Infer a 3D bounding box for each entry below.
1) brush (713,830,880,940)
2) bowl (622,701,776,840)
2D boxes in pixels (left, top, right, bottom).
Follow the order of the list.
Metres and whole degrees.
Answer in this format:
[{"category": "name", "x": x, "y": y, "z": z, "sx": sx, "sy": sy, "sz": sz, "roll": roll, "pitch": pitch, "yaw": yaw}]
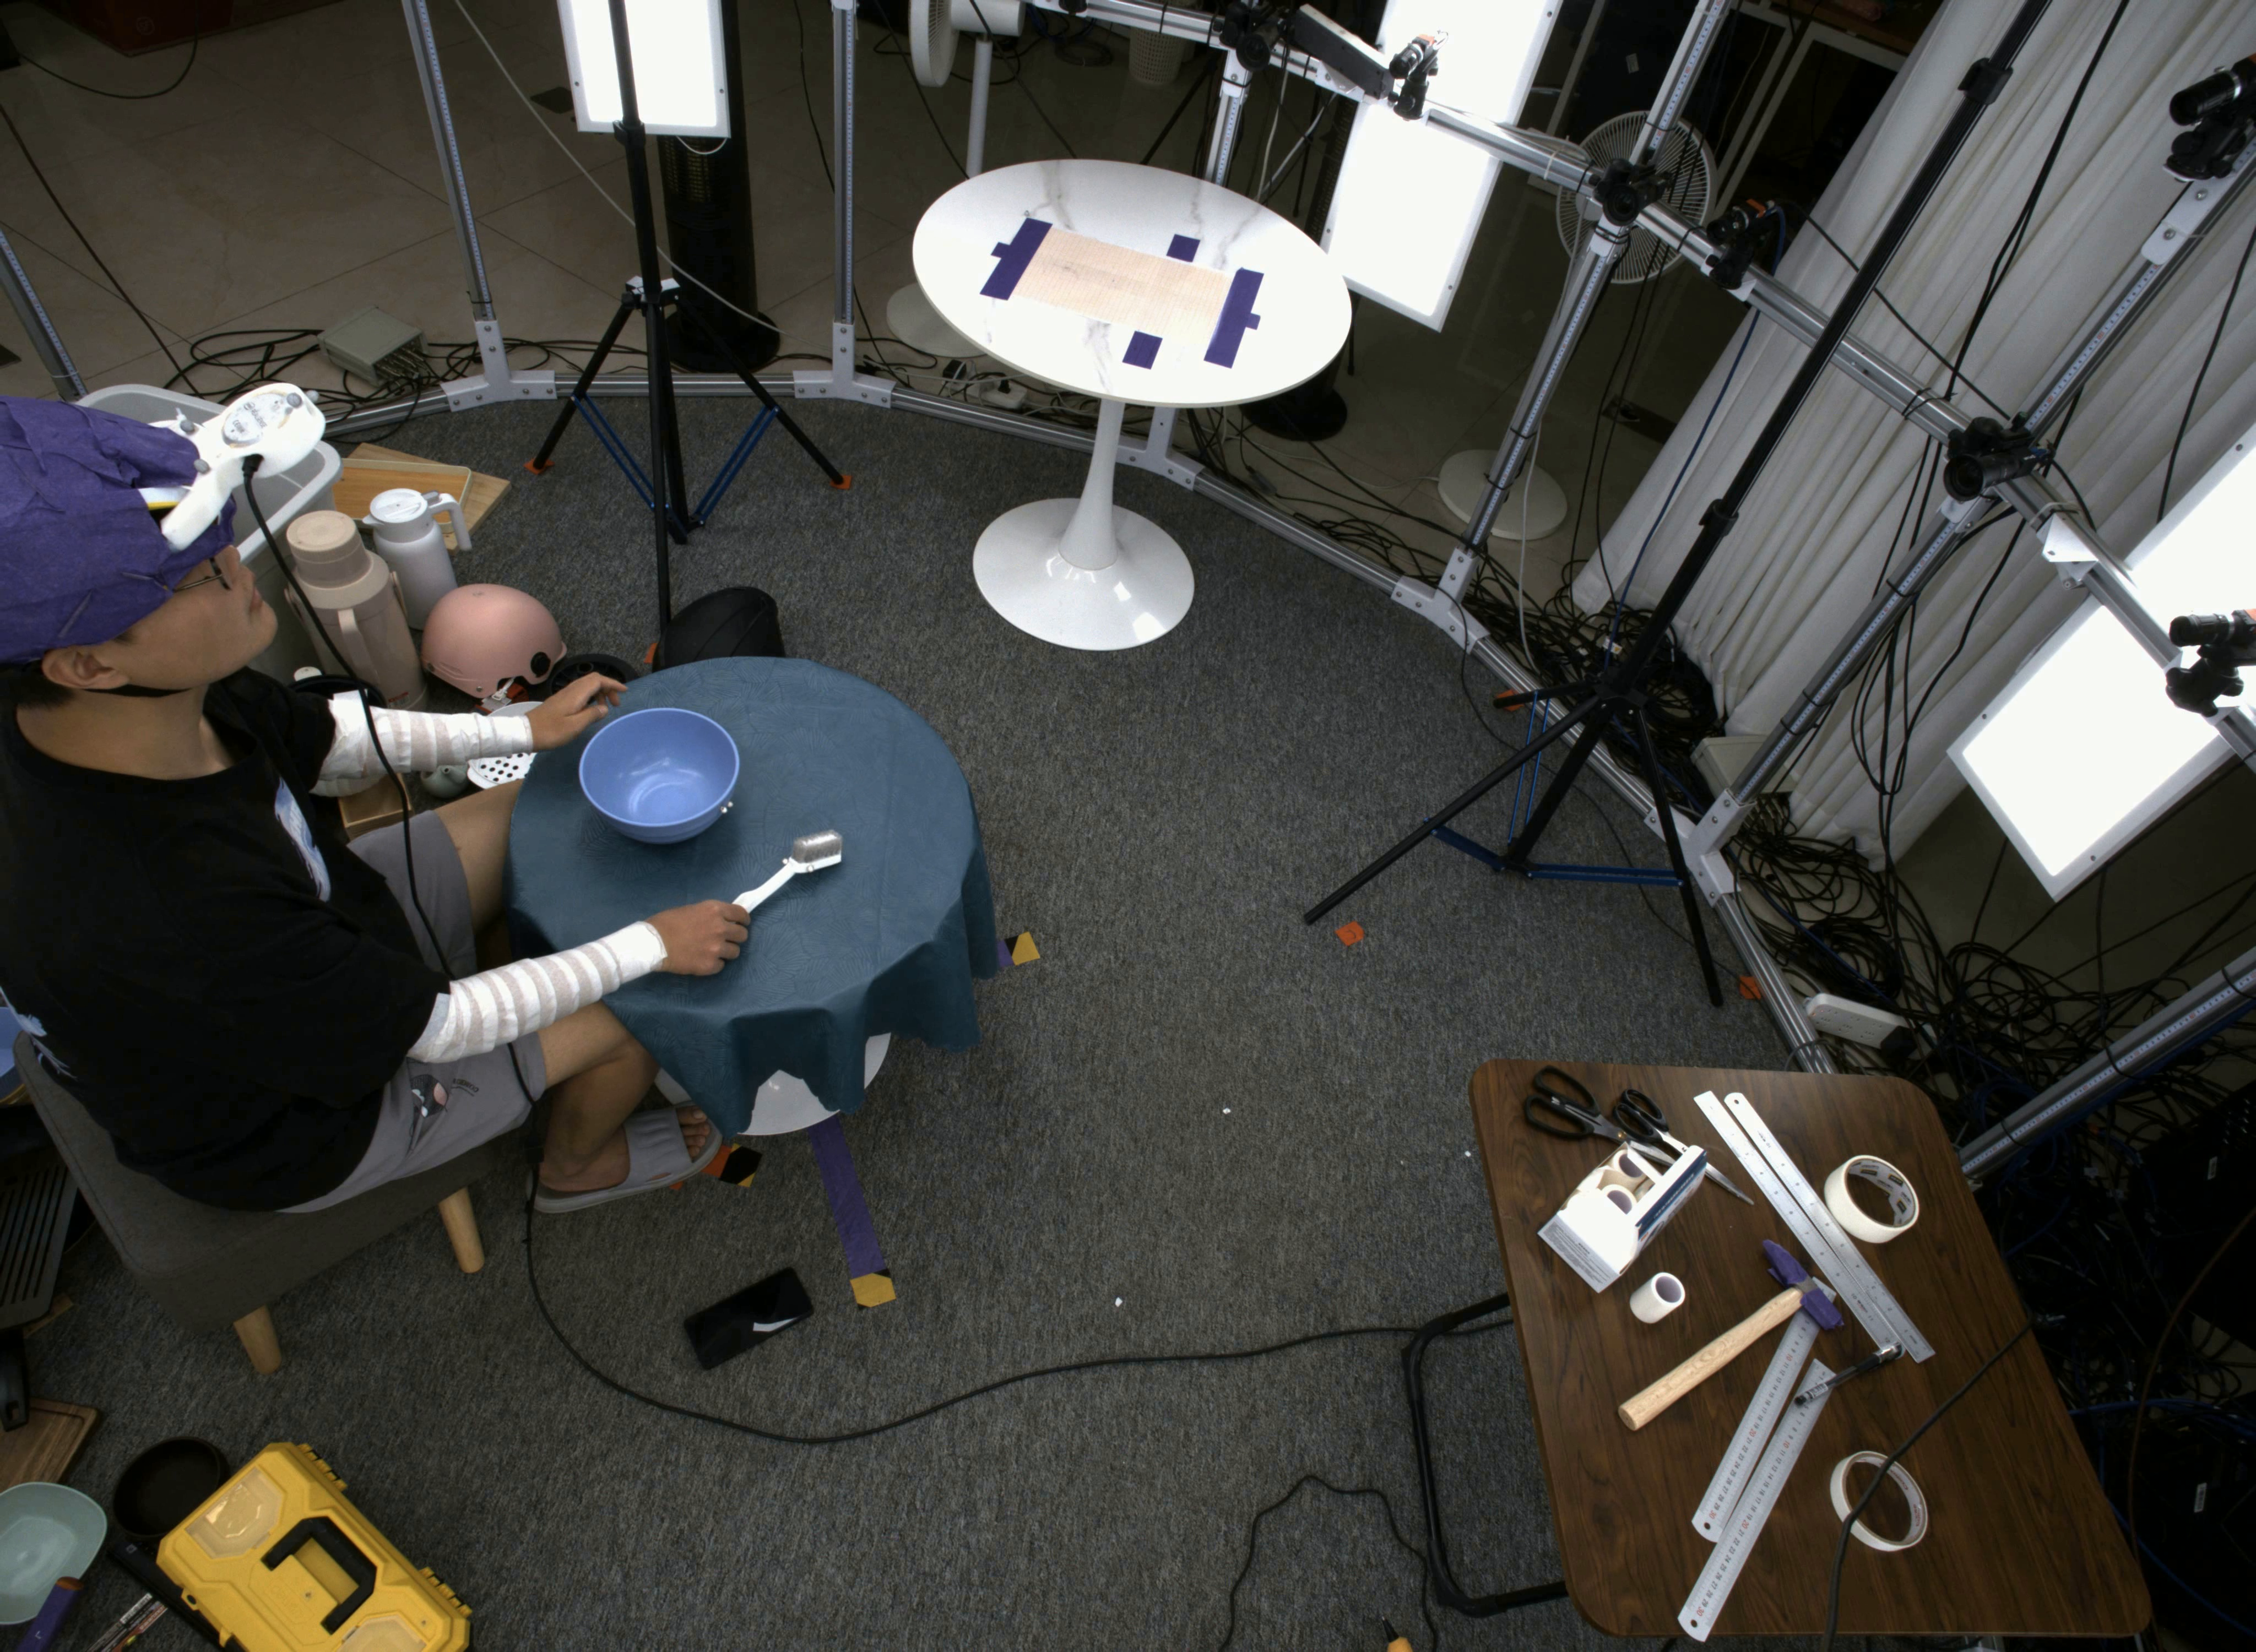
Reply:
[{"category": "brush", "x": -0.422, "y": 0.068, "z": 1.647, "sx": 0.244, "sy": 0.052, "sz": 0.033, "roll": -30, "pitch": 49, "yaw": -32}, {"category": "bowl", "x": -0.557, "y": -0.057, "z": 1.687, "sx": 0.196, "sy": 0.097, "sz": 0.193, "roll": 7, "pitch": 55, "yaw": -8}]
